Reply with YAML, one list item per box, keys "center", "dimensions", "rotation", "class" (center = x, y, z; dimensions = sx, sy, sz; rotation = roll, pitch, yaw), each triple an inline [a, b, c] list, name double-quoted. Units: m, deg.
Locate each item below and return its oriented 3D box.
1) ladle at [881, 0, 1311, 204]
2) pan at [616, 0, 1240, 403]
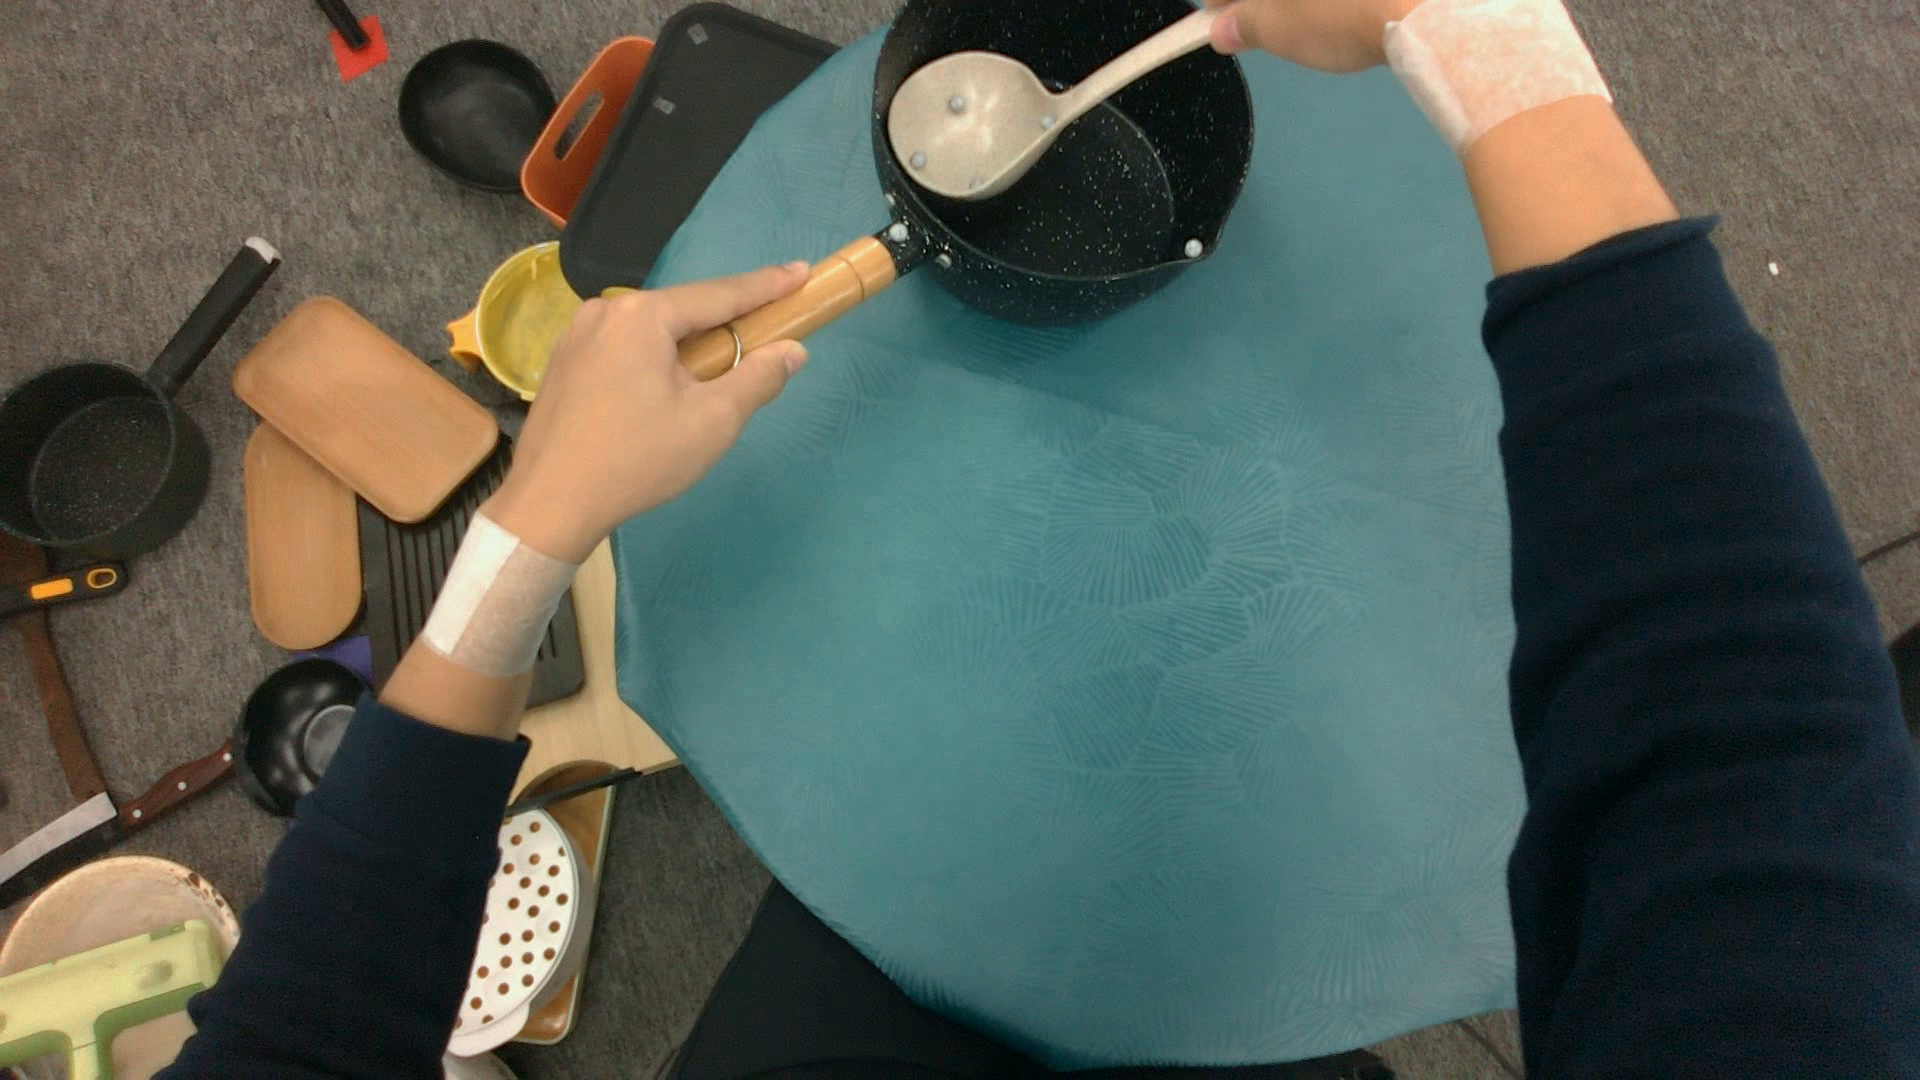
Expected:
- center: [0.059, -0.221, 0.610]
  dimensions: [0.069, 0.274, 0.089]
  rotation: [35, 64, -27]
  class: "ladle"
- center: [-0.017, -0.154, 0.659]
  dimensions: [0.344, 0.108, 0.207]
  rotation: [-41, 83, -19]
  class: "pan"
